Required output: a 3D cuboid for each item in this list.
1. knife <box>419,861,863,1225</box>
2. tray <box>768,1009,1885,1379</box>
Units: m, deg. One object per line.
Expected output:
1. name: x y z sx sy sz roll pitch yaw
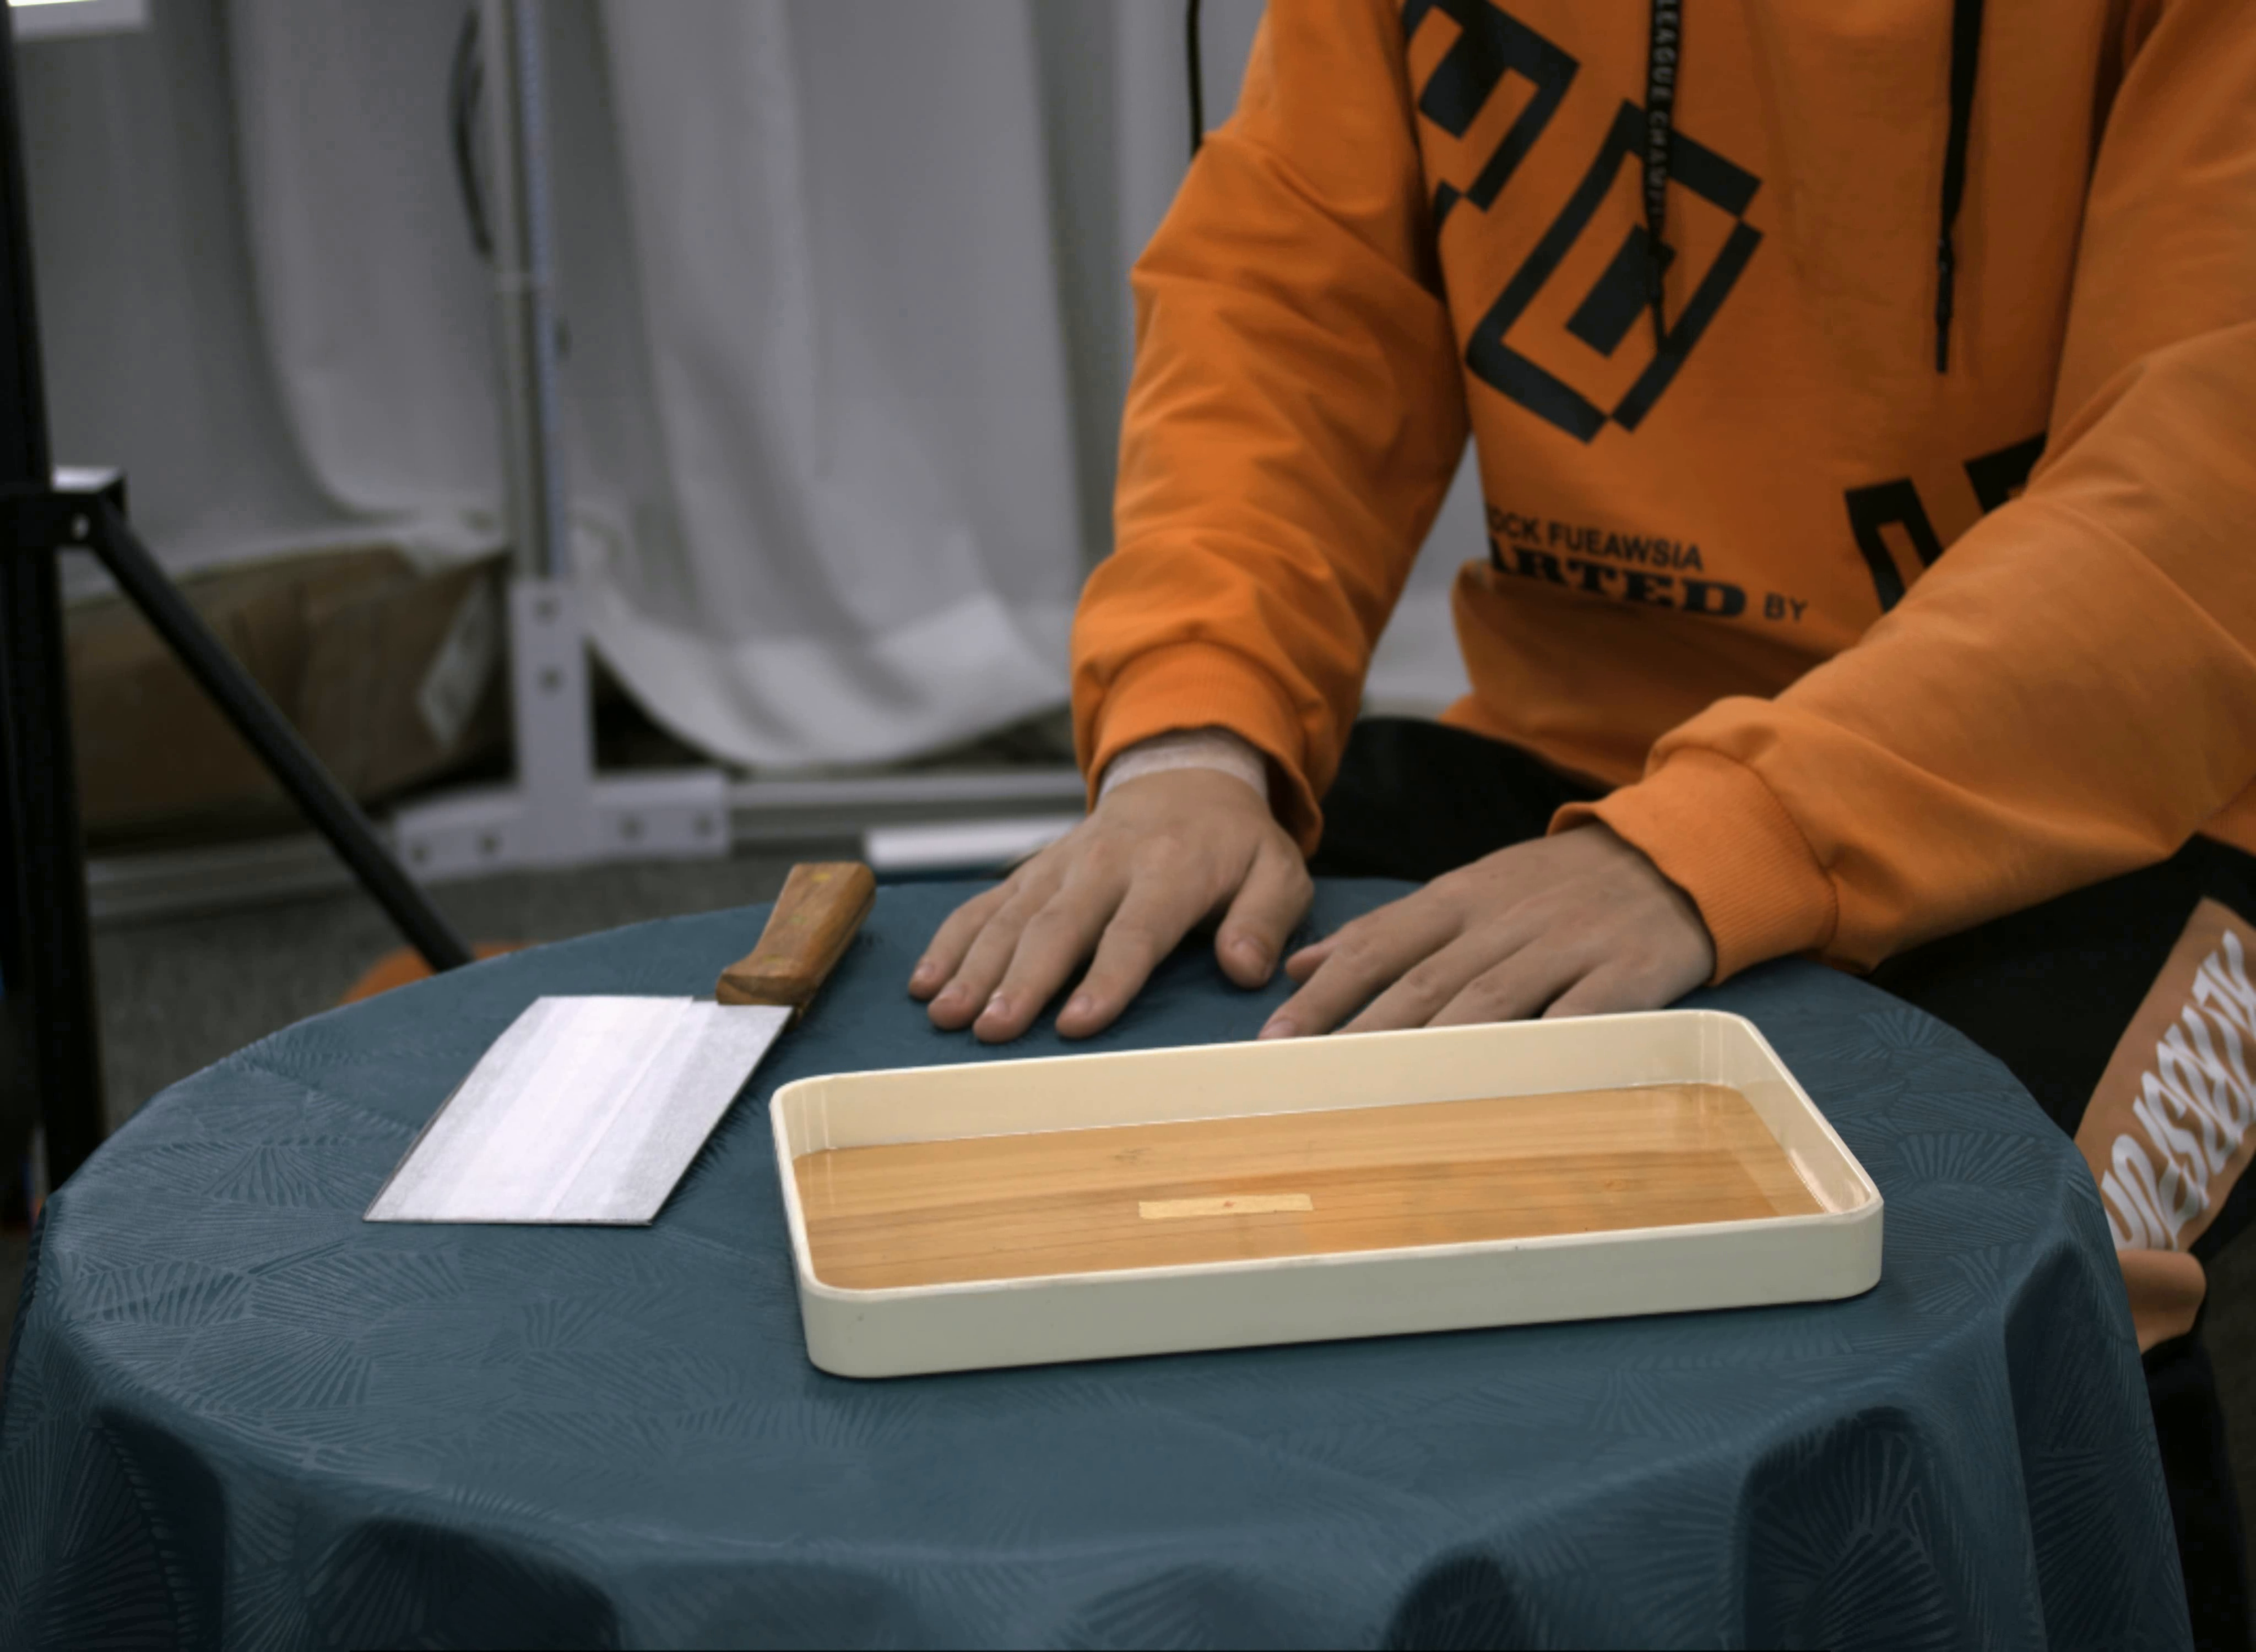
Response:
1. knife: -0.154 0.068 1.699 0.093 0.021 0.304 -1 18 11
2. tray: 0.051 0.103 1.516 0.298 0.027 0.193 -4 16 -4
